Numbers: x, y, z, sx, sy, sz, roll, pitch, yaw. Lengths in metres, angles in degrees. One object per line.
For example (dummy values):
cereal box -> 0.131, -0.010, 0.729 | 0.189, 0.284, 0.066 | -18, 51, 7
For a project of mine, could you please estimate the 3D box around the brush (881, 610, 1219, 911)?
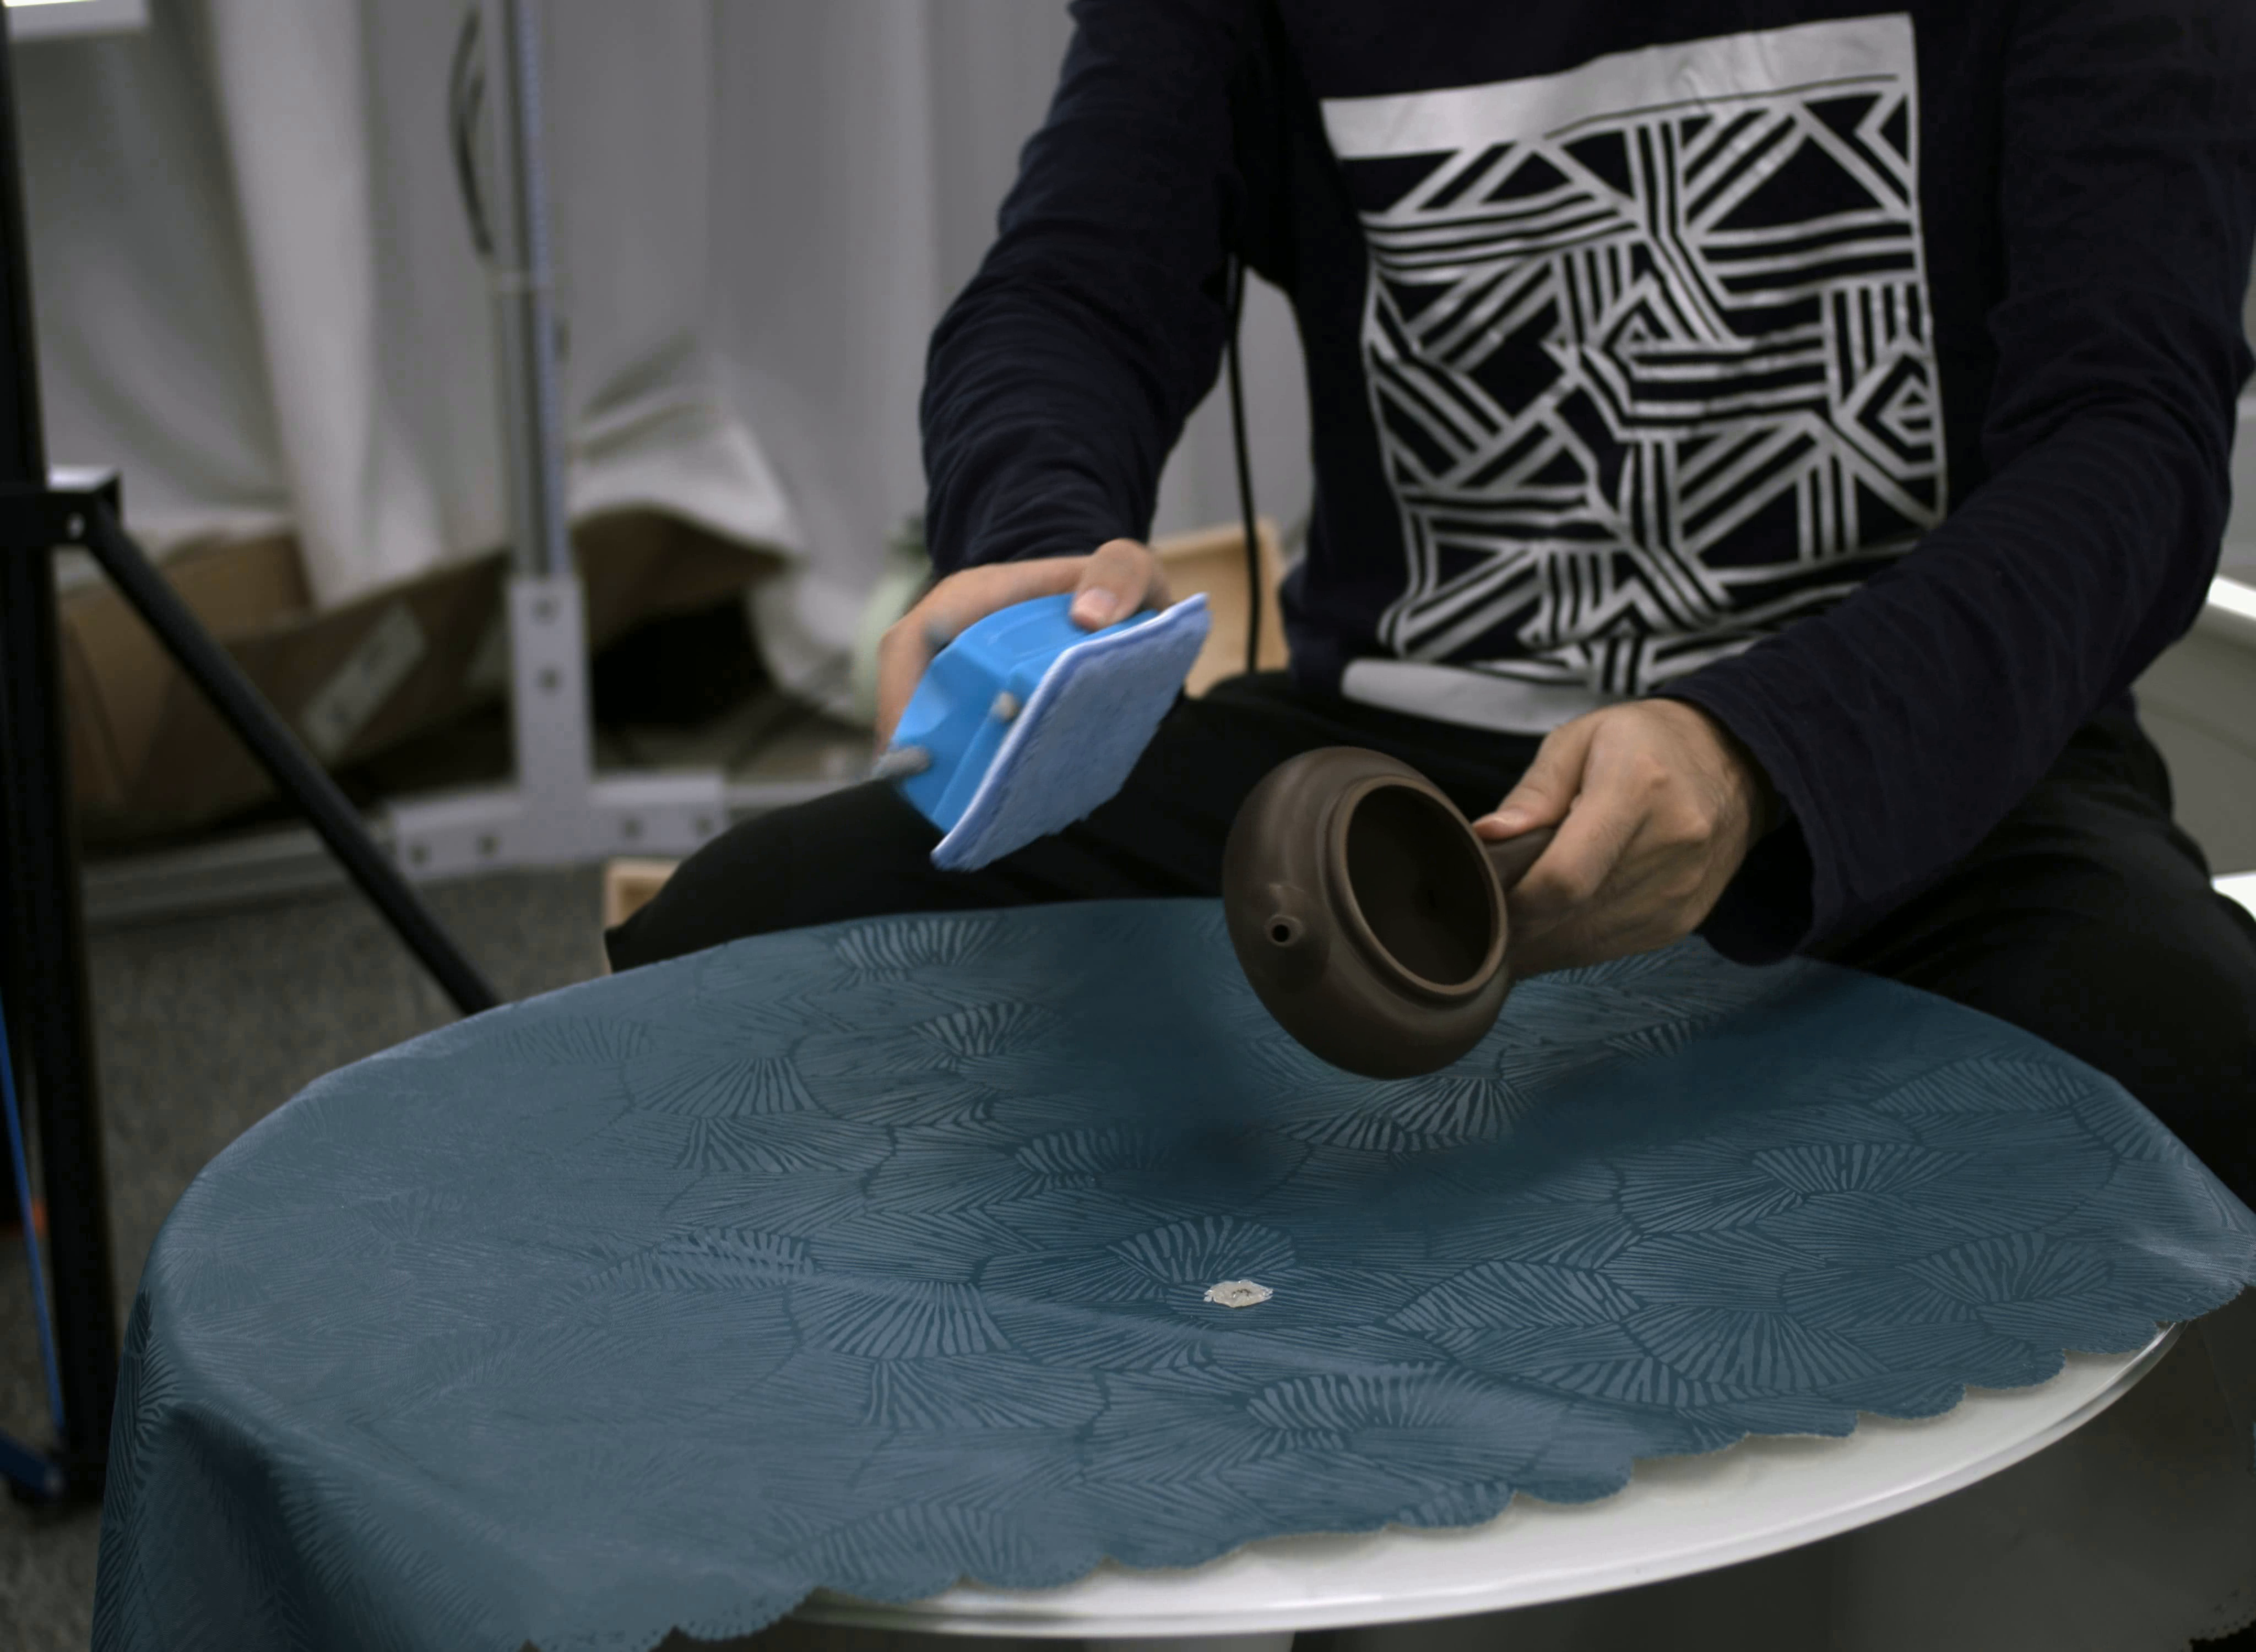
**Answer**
brush -> -0.029, -0.024, 1.593 | 0.056, 0.084, 0.142 | 40, 24, 9

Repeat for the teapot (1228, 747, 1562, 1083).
teapot -> 0.077, 0.025, 1.573 | 0.054, 0.103, 0.150 | -29, -3, 41
